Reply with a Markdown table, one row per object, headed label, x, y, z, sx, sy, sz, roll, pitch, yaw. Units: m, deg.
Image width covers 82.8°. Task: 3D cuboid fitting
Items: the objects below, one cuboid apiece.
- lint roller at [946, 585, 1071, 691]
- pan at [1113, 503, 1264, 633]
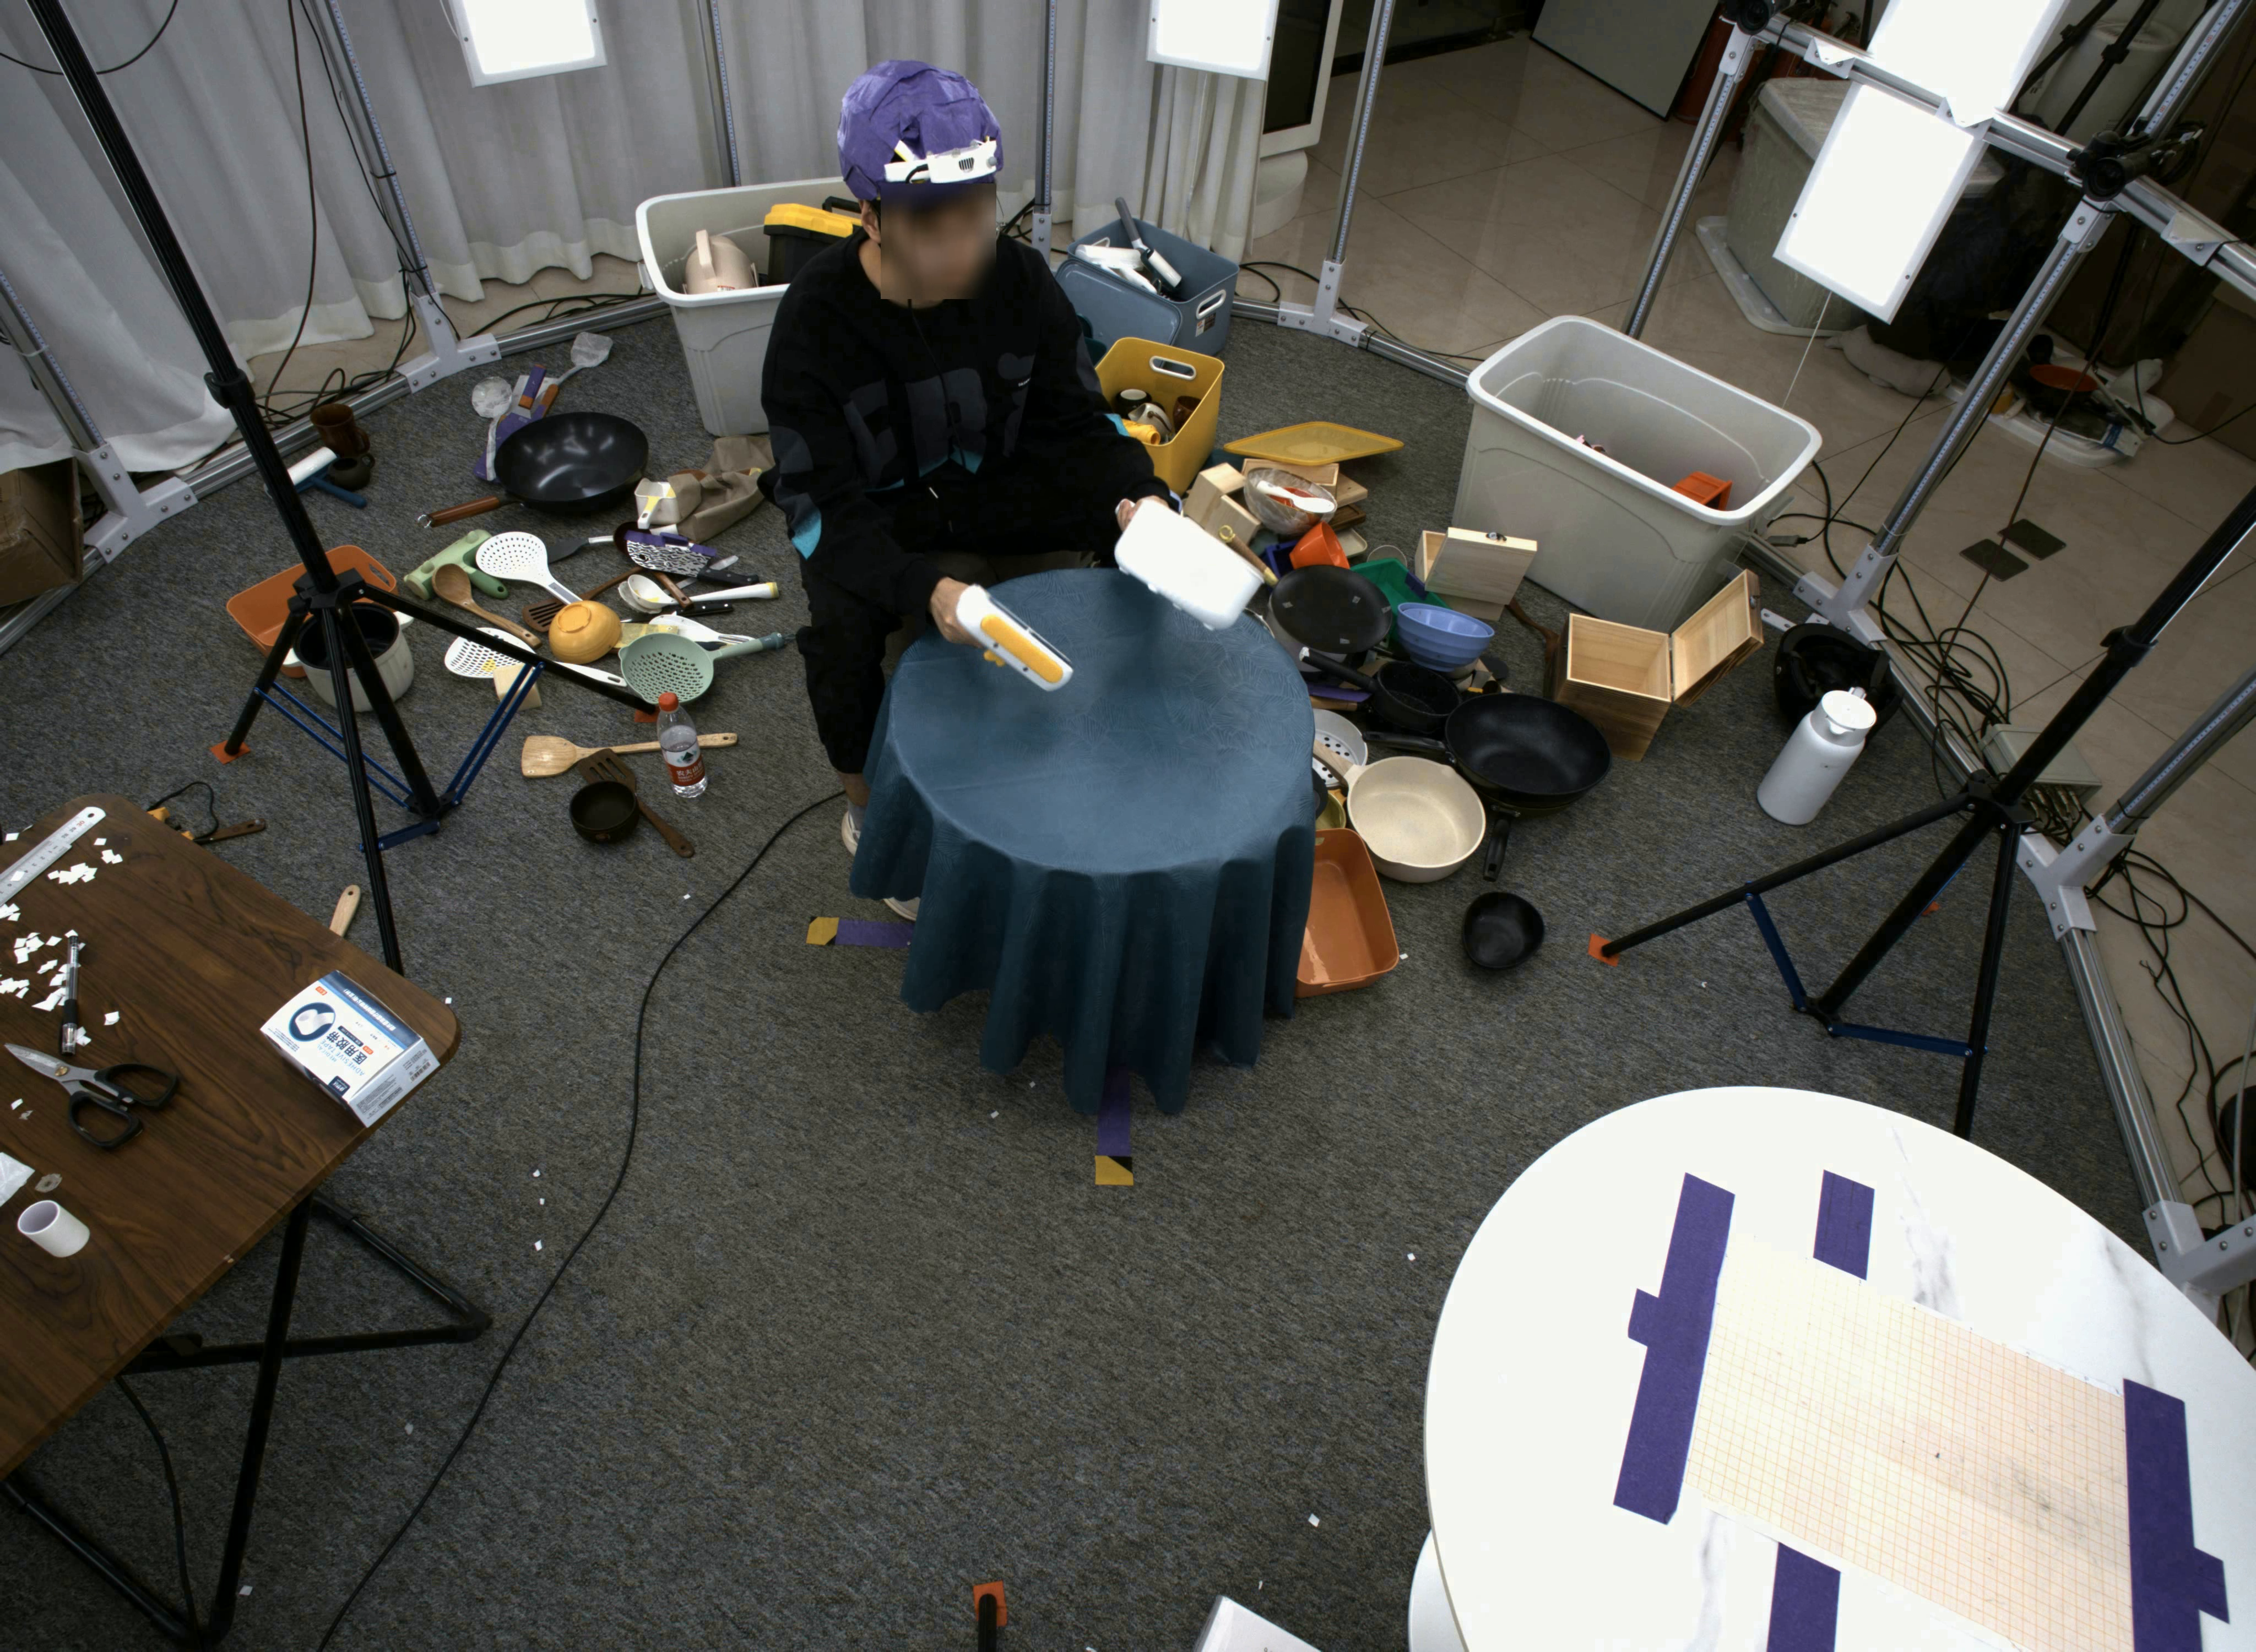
| label | x | y | z | sx | sy | sz | roll | pitch | yaw |
| --- | --- | --- | --- | --- | --- | --- | --- | --- | --- |
| lint roller | -0.182 | -0.269 | 1.758 | 0.190 | 0.074 | 0.196 | 29 | 12 | -32 |
| pan | 0.047 | -0.377 | 1.828 | 0.198 | 0.101 | 0.361 | 25 | 10 | -31 |
